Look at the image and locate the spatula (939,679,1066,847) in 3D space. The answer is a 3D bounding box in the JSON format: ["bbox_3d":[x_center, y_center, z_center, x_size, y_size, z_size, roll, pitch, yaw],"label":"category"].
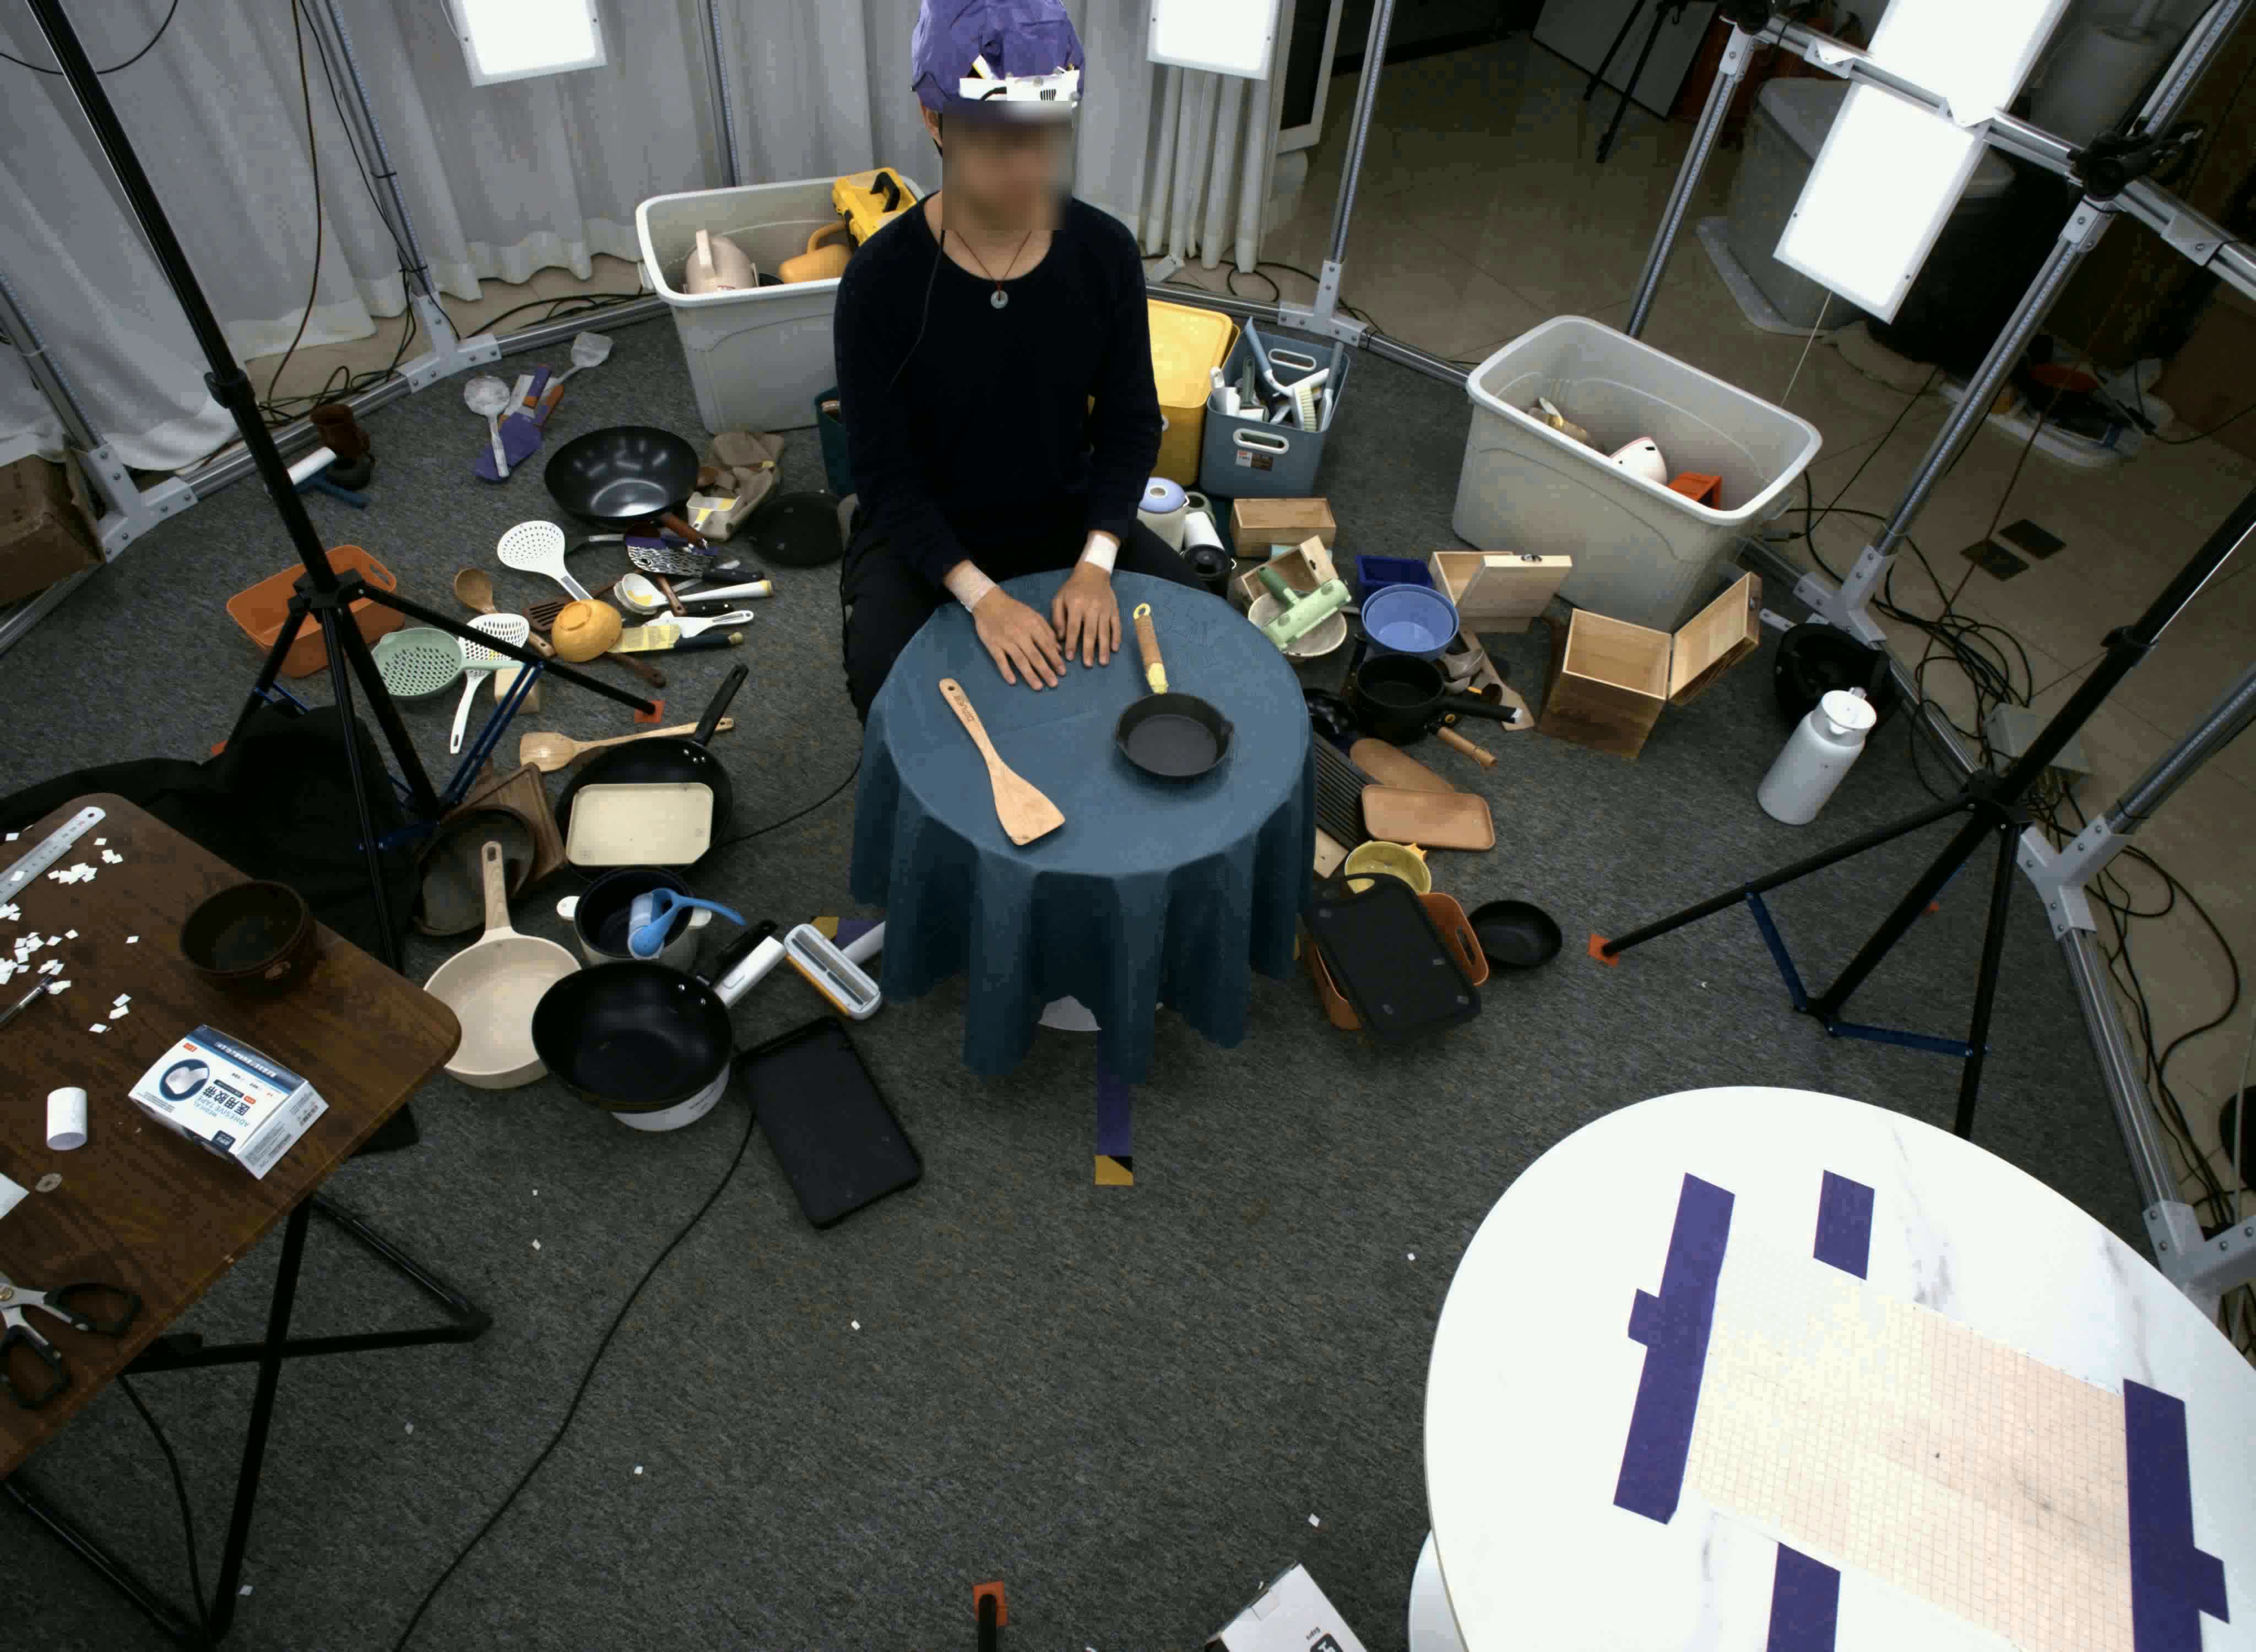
[{"bbox_3d":[-0.182,-0.095,1.728,0.080,0.016,0.335,-19,53,-20],"label":"spatula"}]

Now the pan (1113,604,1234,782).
[{"bbox_3d":[0.048,-0.188,1.803,0.169,0.048,0.332,-5,51,-8],"label":"pan"}]
